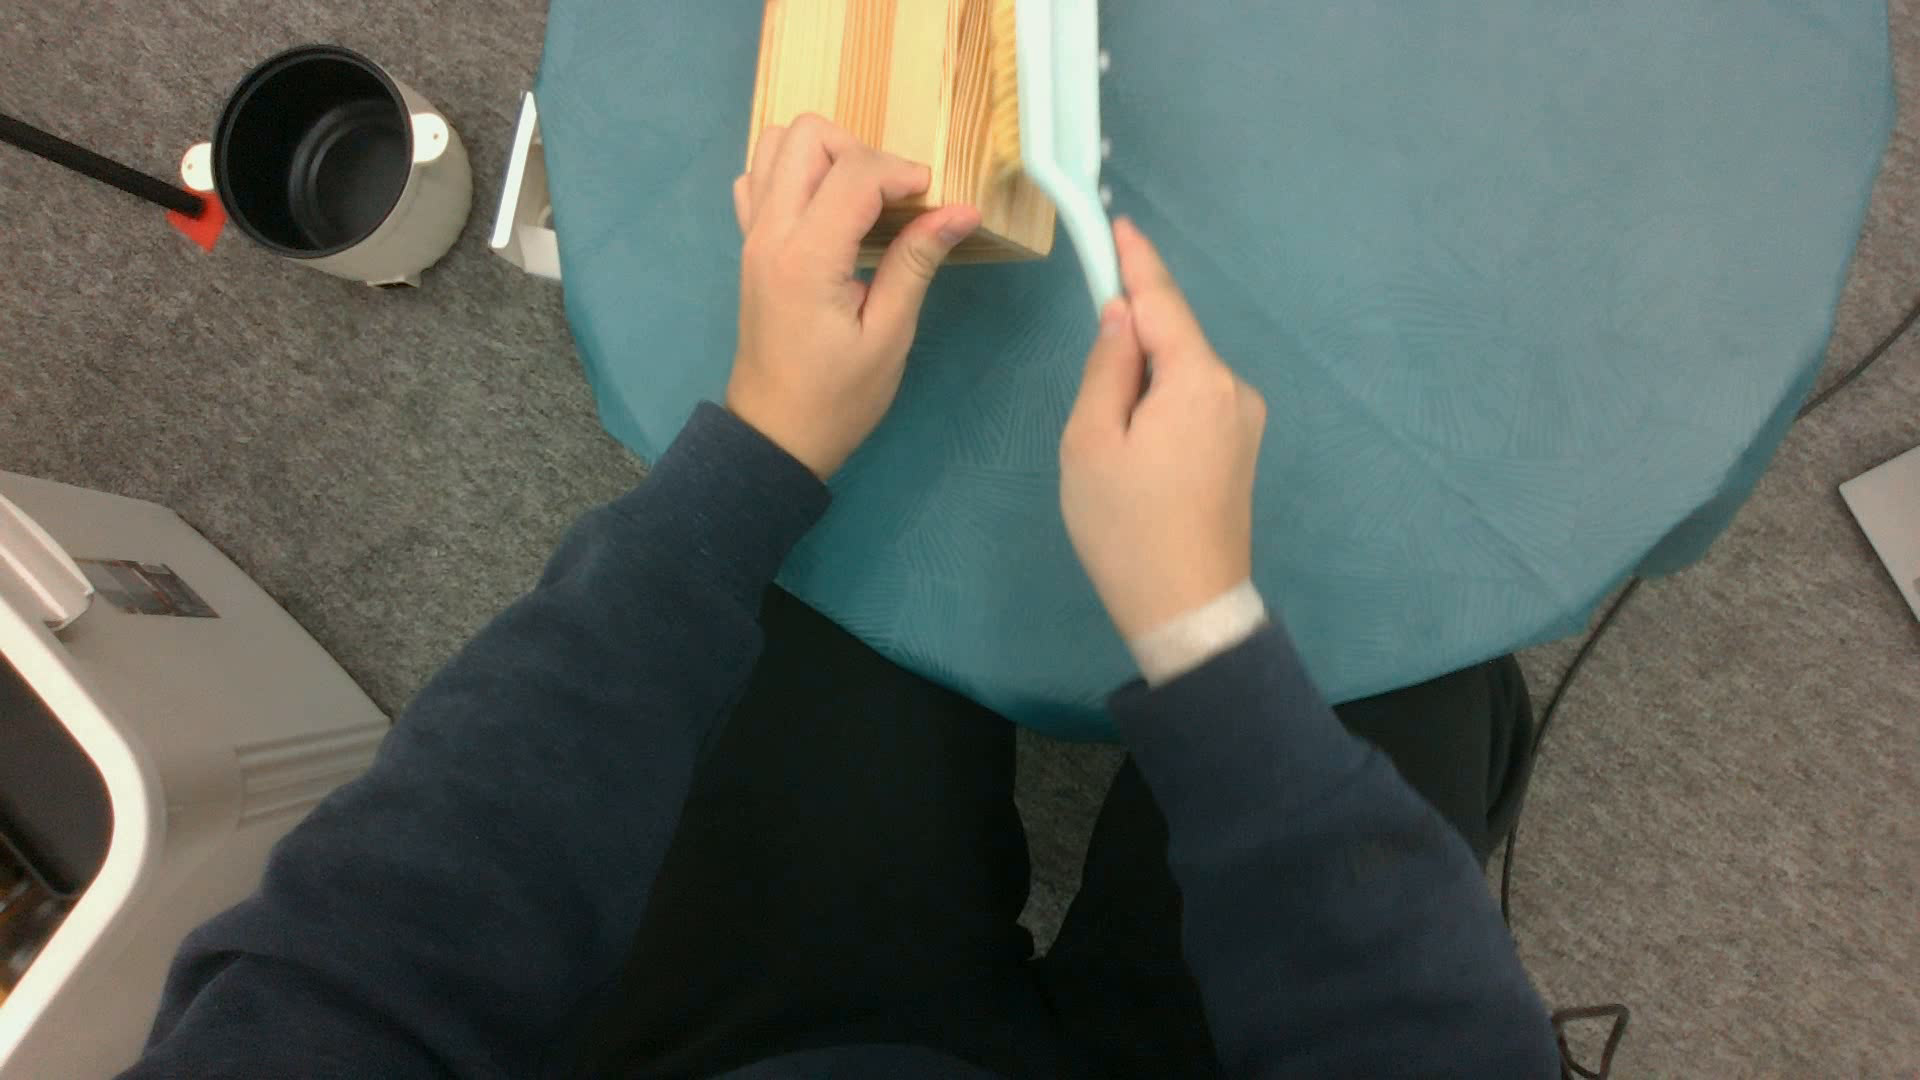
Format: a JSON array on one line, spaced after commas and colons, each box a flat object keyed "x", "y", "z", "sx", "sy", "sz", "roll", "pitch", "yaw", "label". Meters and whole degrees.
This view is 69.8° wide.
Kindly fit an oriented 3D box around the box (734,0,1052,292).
[{"x": -0.026, "y": -0.222, "z": 0.594, "sx": 0.107, "sy": 0.080, "sz": 0.211, "roll": 1, "pitch": 87, "yaw": 36, "label": "box"}]

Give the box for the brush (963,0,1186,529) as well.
[{"x": 0.045, "y": -0.115, "z": 0.541, "sx": 0.049, "sy": 0.038, "sz": 0.228, "roll": -16, "pitch": 92, "yaw": 44, "label": "brush"}]
